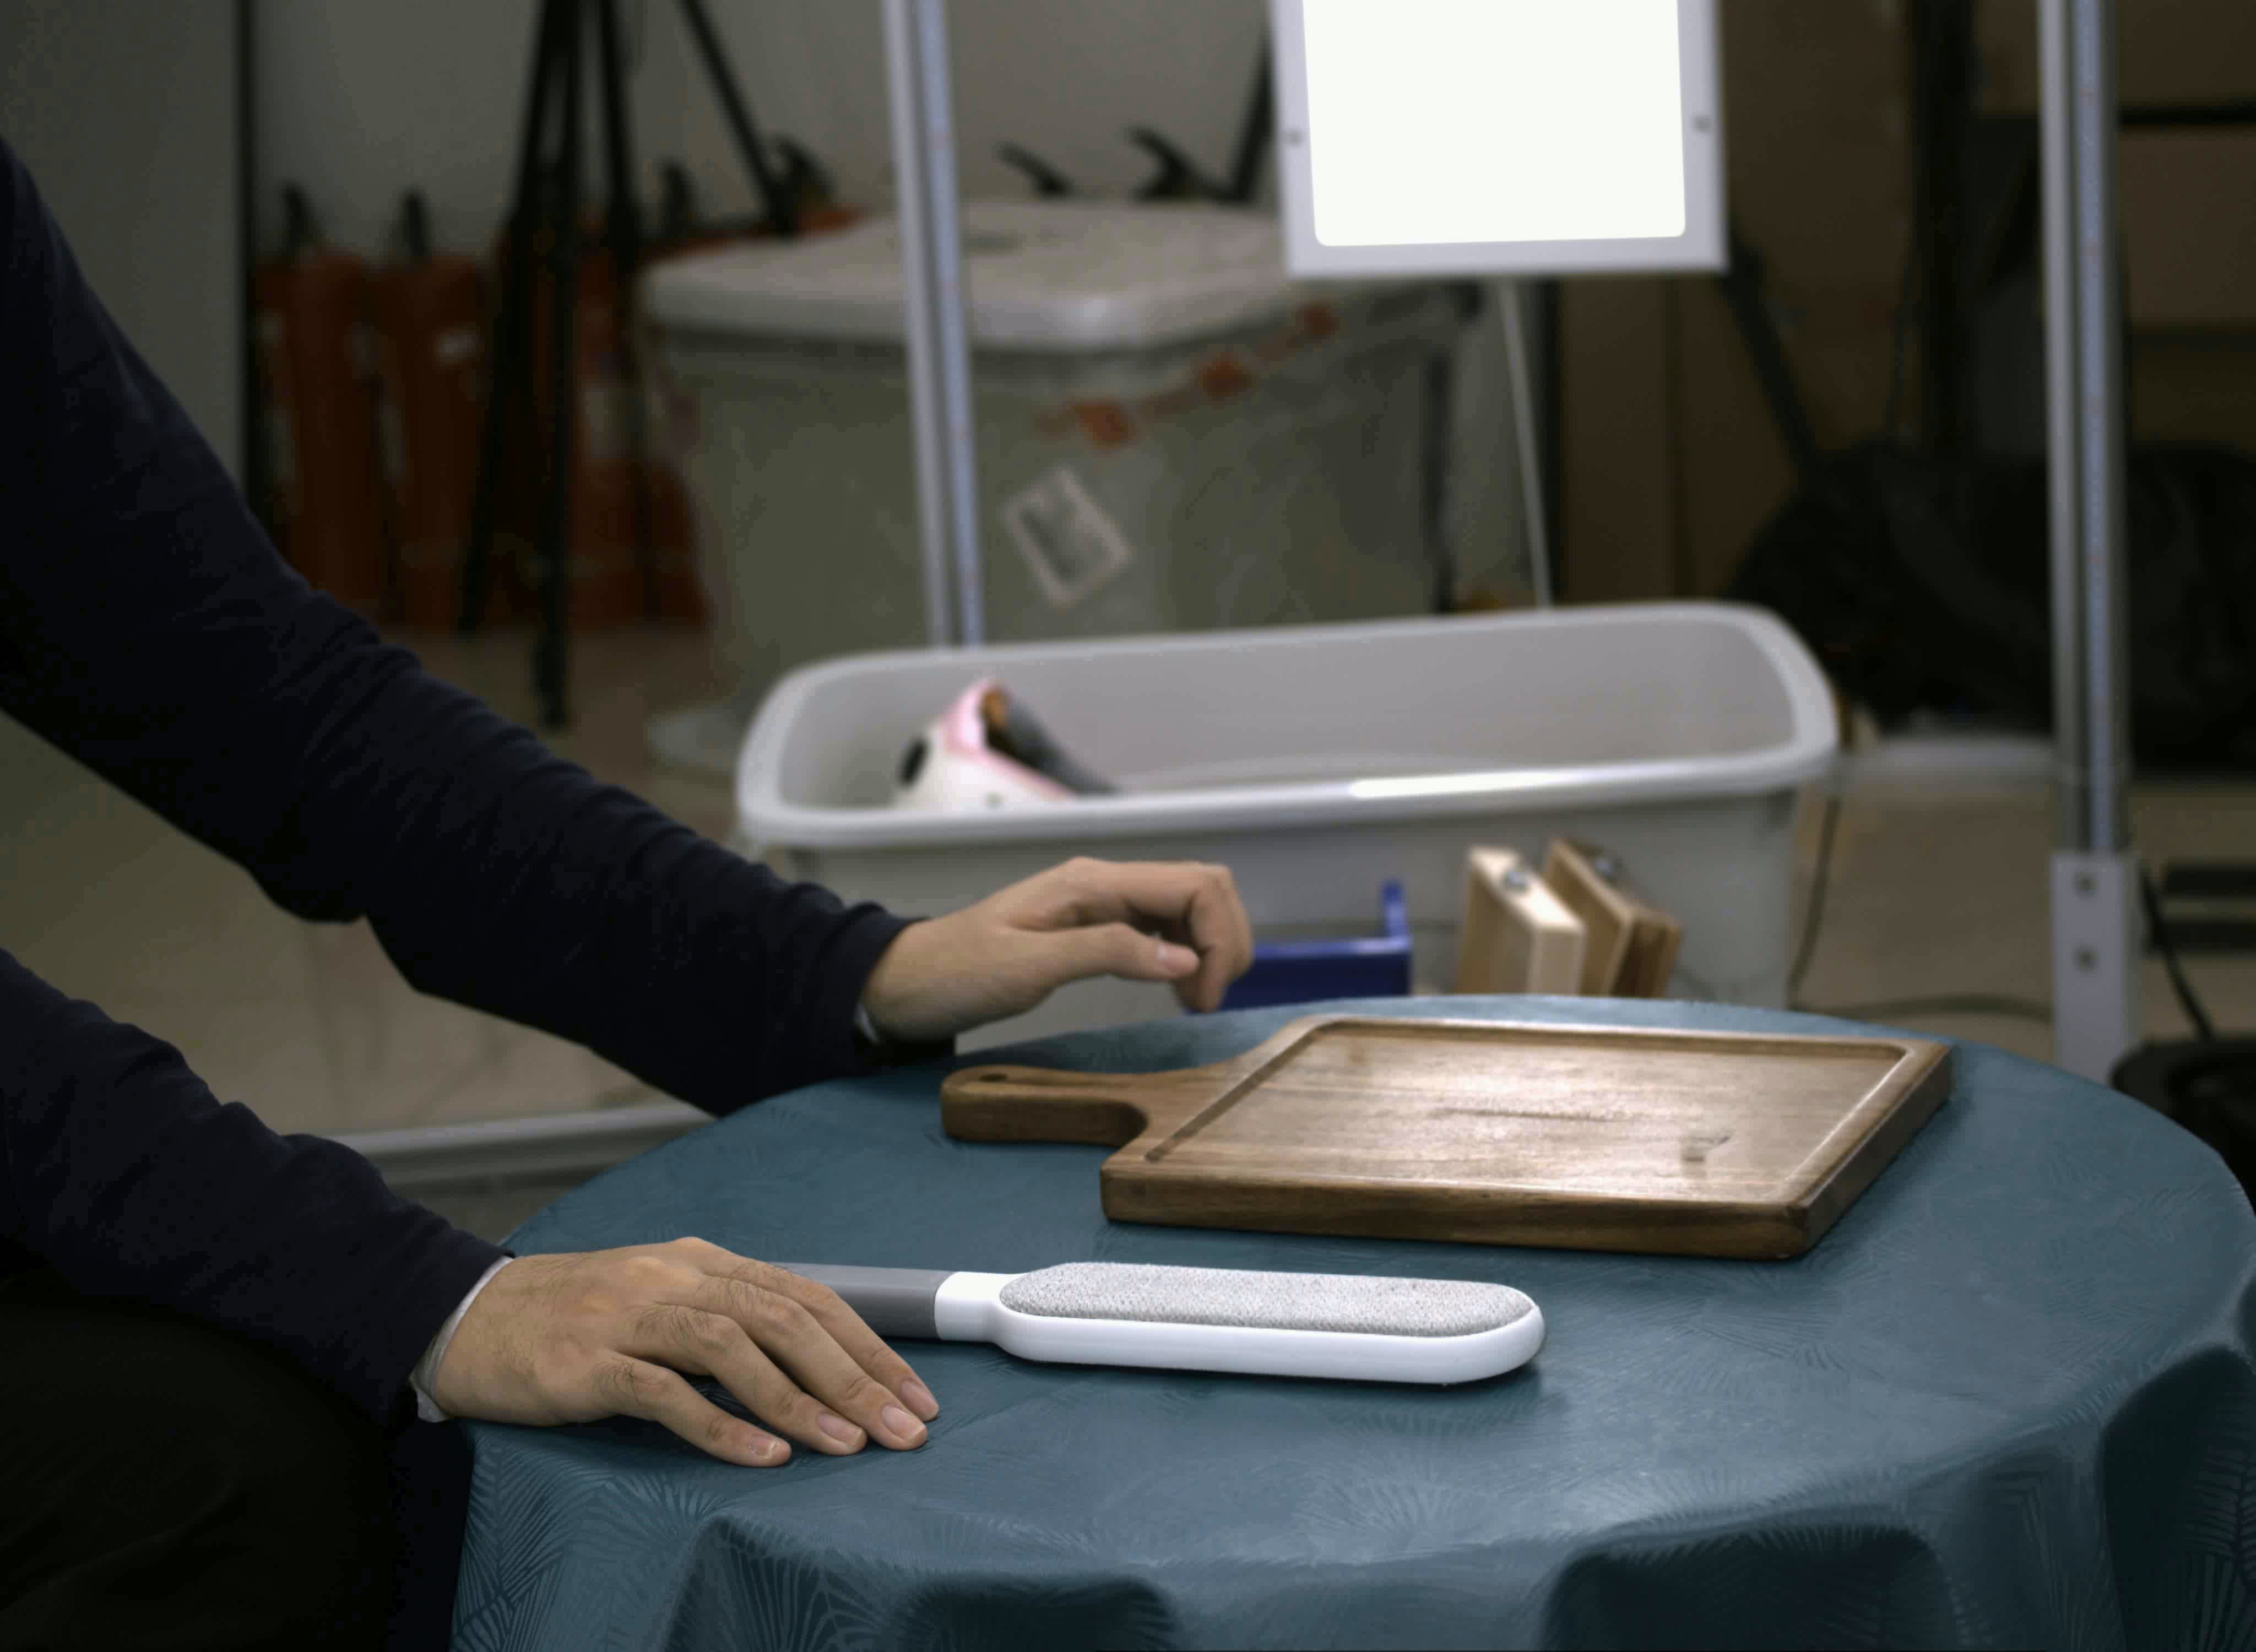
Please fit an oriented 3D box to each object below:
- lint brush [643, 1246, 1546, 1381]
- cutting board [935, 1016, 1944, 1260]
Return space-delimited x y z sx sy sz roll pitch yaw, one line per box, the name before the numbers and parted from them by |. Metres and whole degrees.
lint brush | -0.016 0.151 1.751 0.314 0.021 0.059 1 20 25
cutting board | 0.095 0.104 1.920 0.358 0.023 0.197 1 15 25
